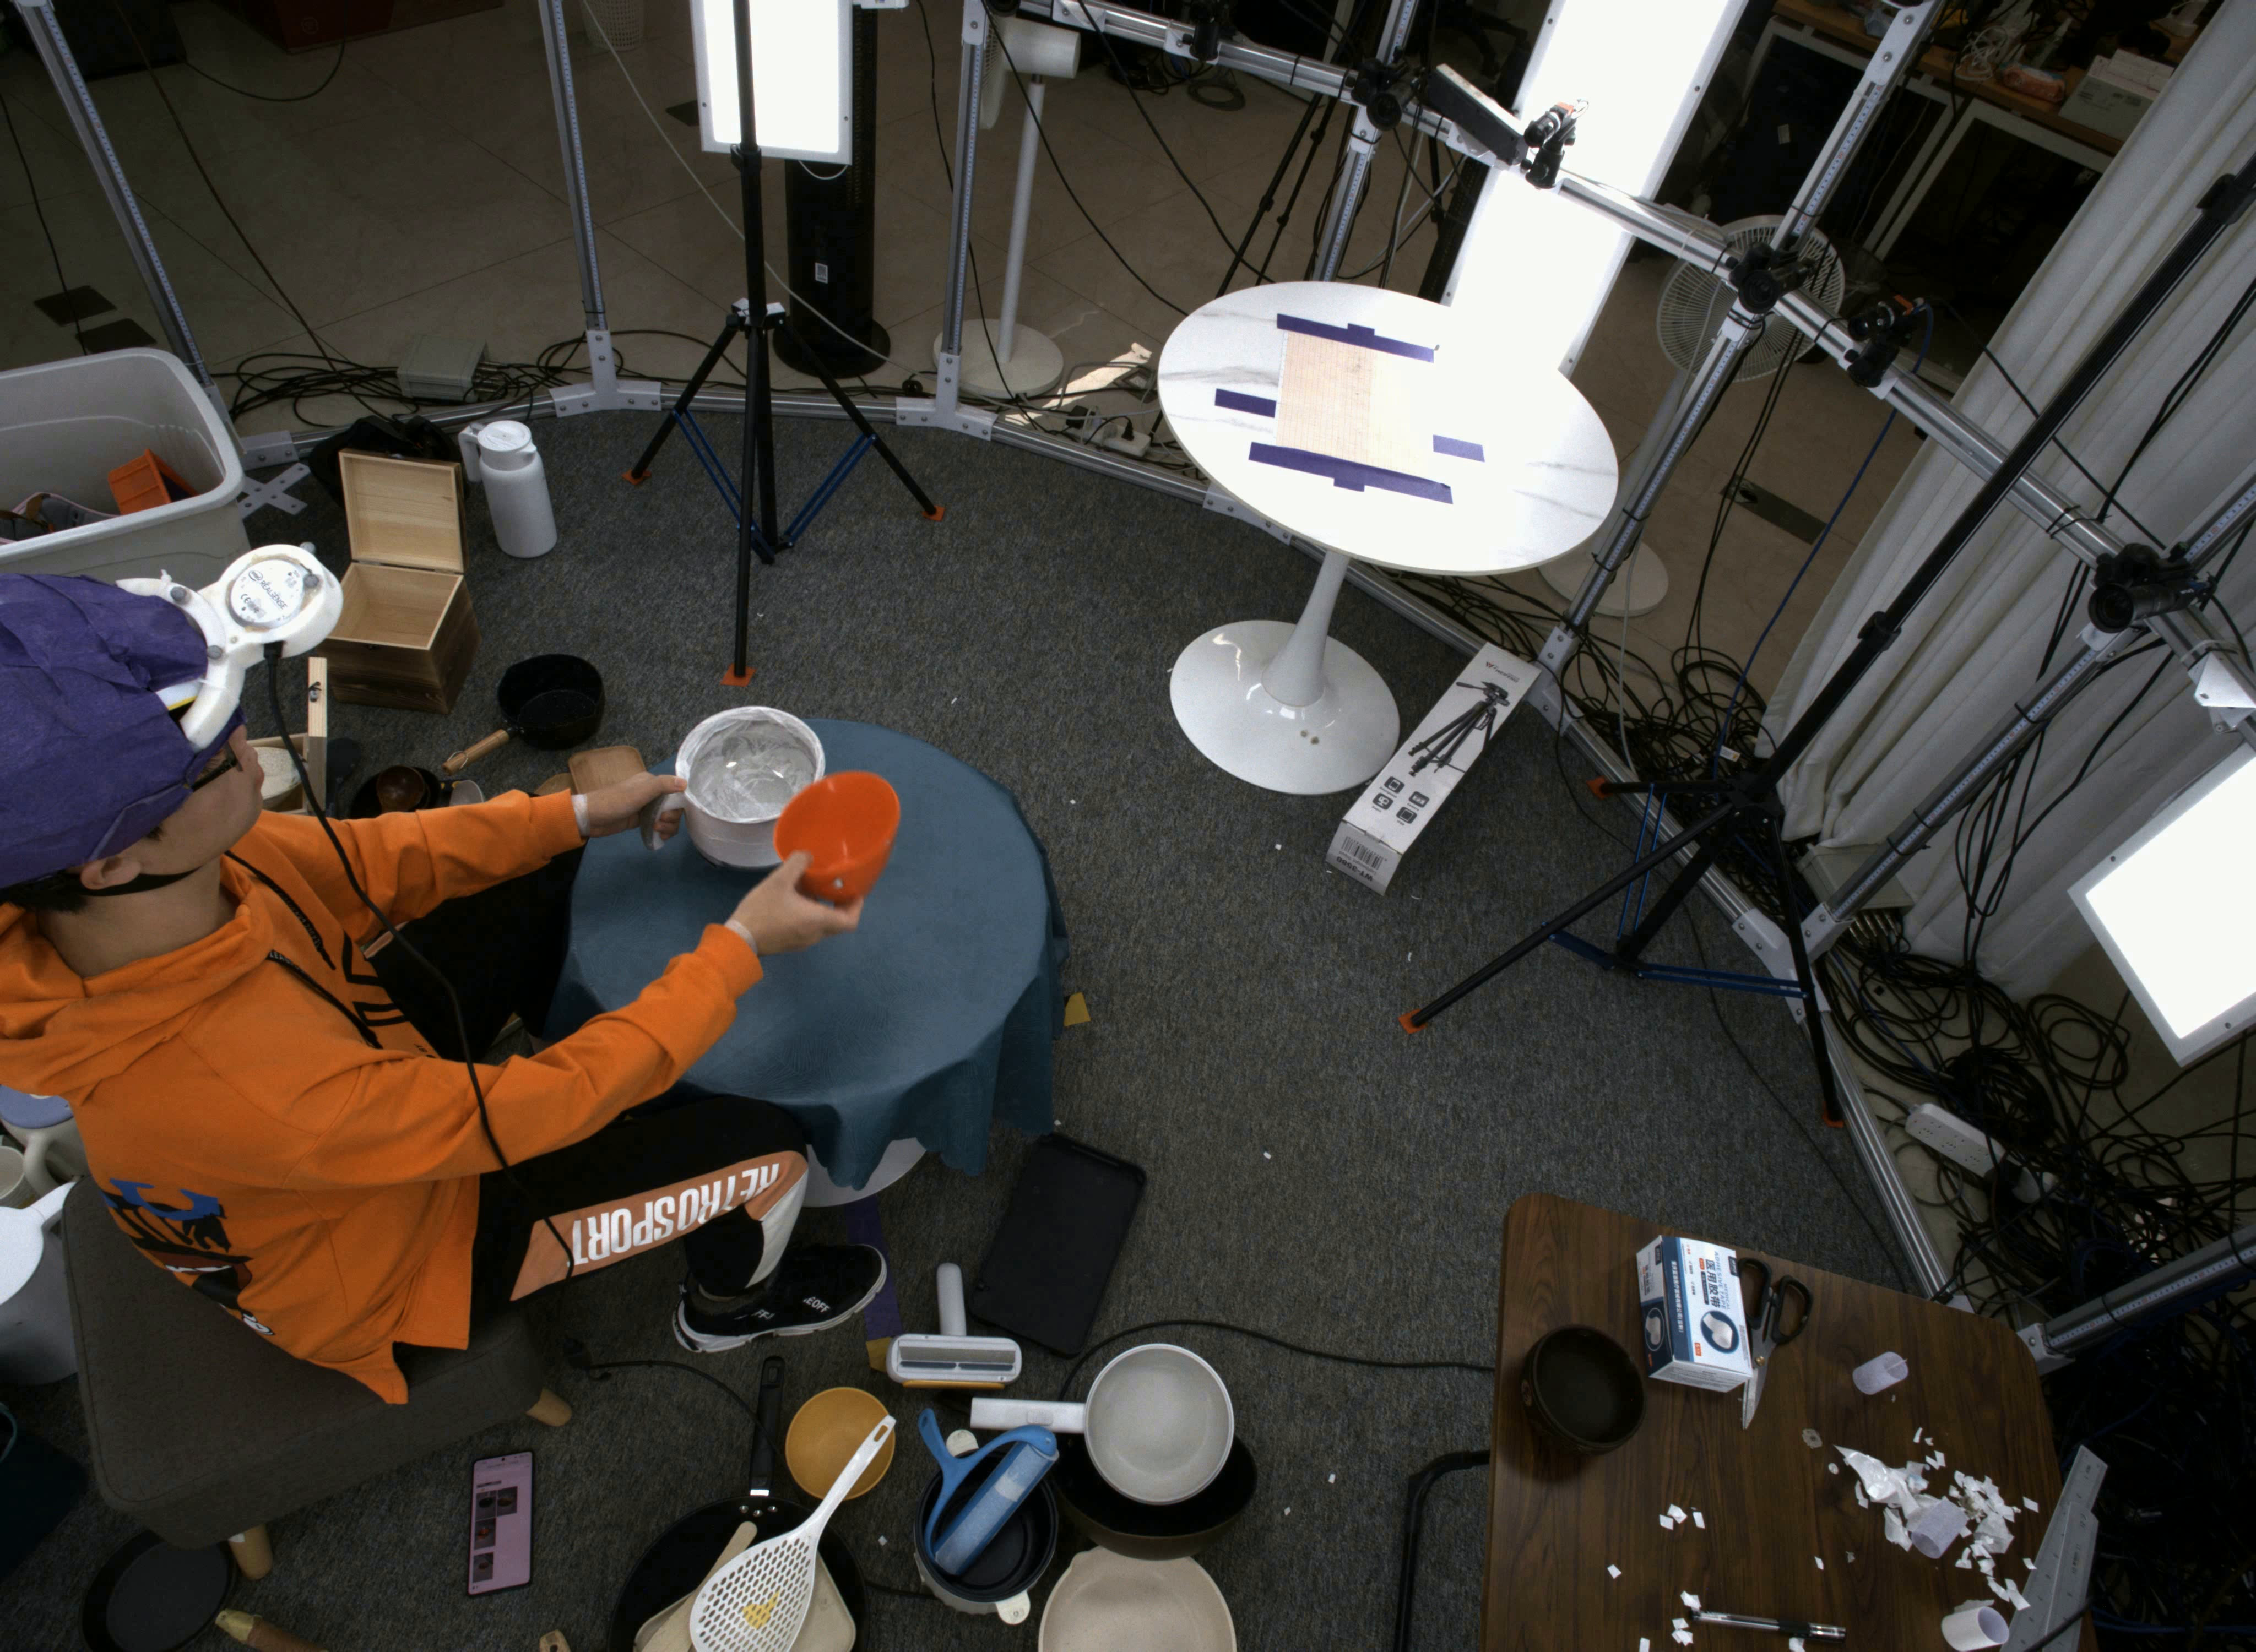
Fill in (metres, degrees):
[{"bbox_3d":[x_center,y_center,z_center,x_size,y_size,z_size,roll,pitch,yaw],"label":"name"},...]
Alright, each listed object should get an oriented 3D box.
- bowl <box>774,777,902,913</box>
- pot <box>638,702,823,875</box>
[{"bbox_3d":[-0.322,0.031,1.482,0.146,0.108,0.145,-1,44,3],"label":"bowl"},{"bbox_3d":[-0.490,-0.035,1.590,0.234,0.139,0.174,-17,61,-23],"label":"pot"}]
